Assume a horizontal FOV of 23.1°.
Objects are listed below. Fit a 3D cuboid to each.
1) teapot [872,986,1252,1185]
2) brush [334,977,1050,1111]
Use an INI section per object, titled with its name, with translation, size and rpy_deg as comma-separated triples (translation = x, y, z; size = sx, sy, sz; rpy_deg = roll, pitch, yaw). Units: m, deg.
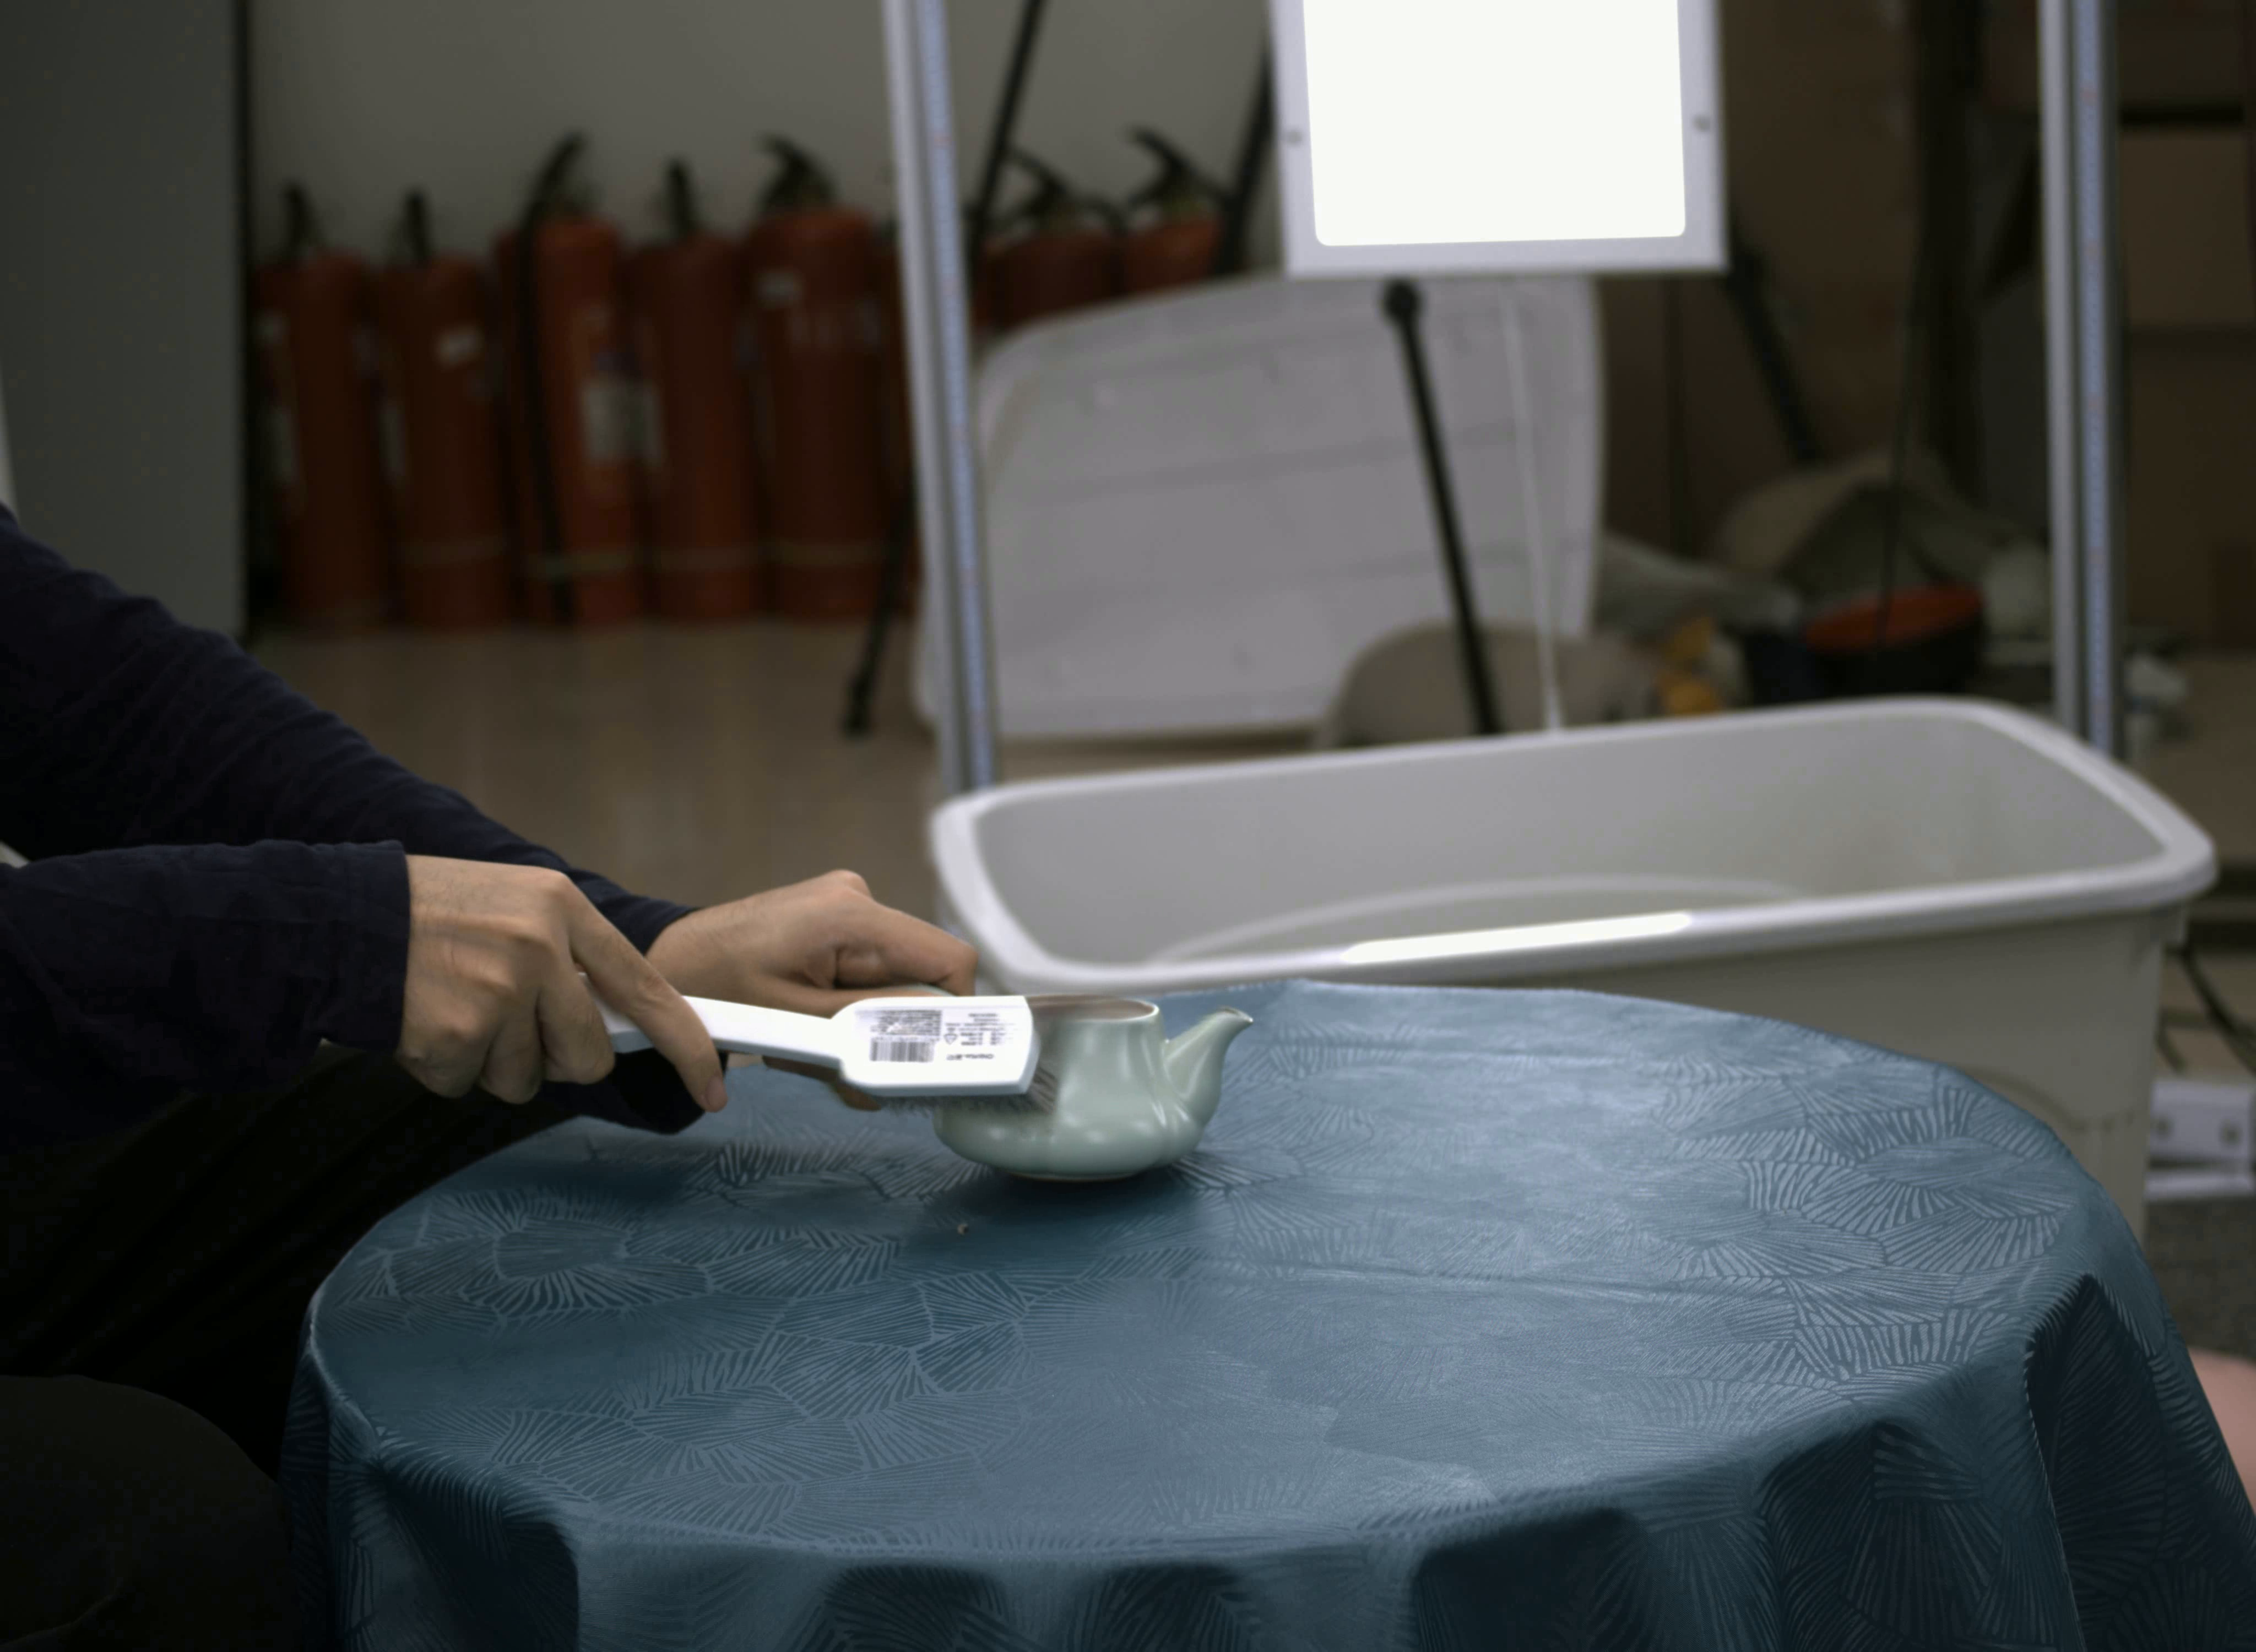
[teapot]
translation = -0.025, 0.089, 1.918
size = 0.138, 0.061, 0.095
rpy_deg = 4, 11, 11
[brush]
translation = -0.146, 0.072, 1.861
size = 0.242, 0.034, 0.050
rpy_deg = 2, -19, -5
